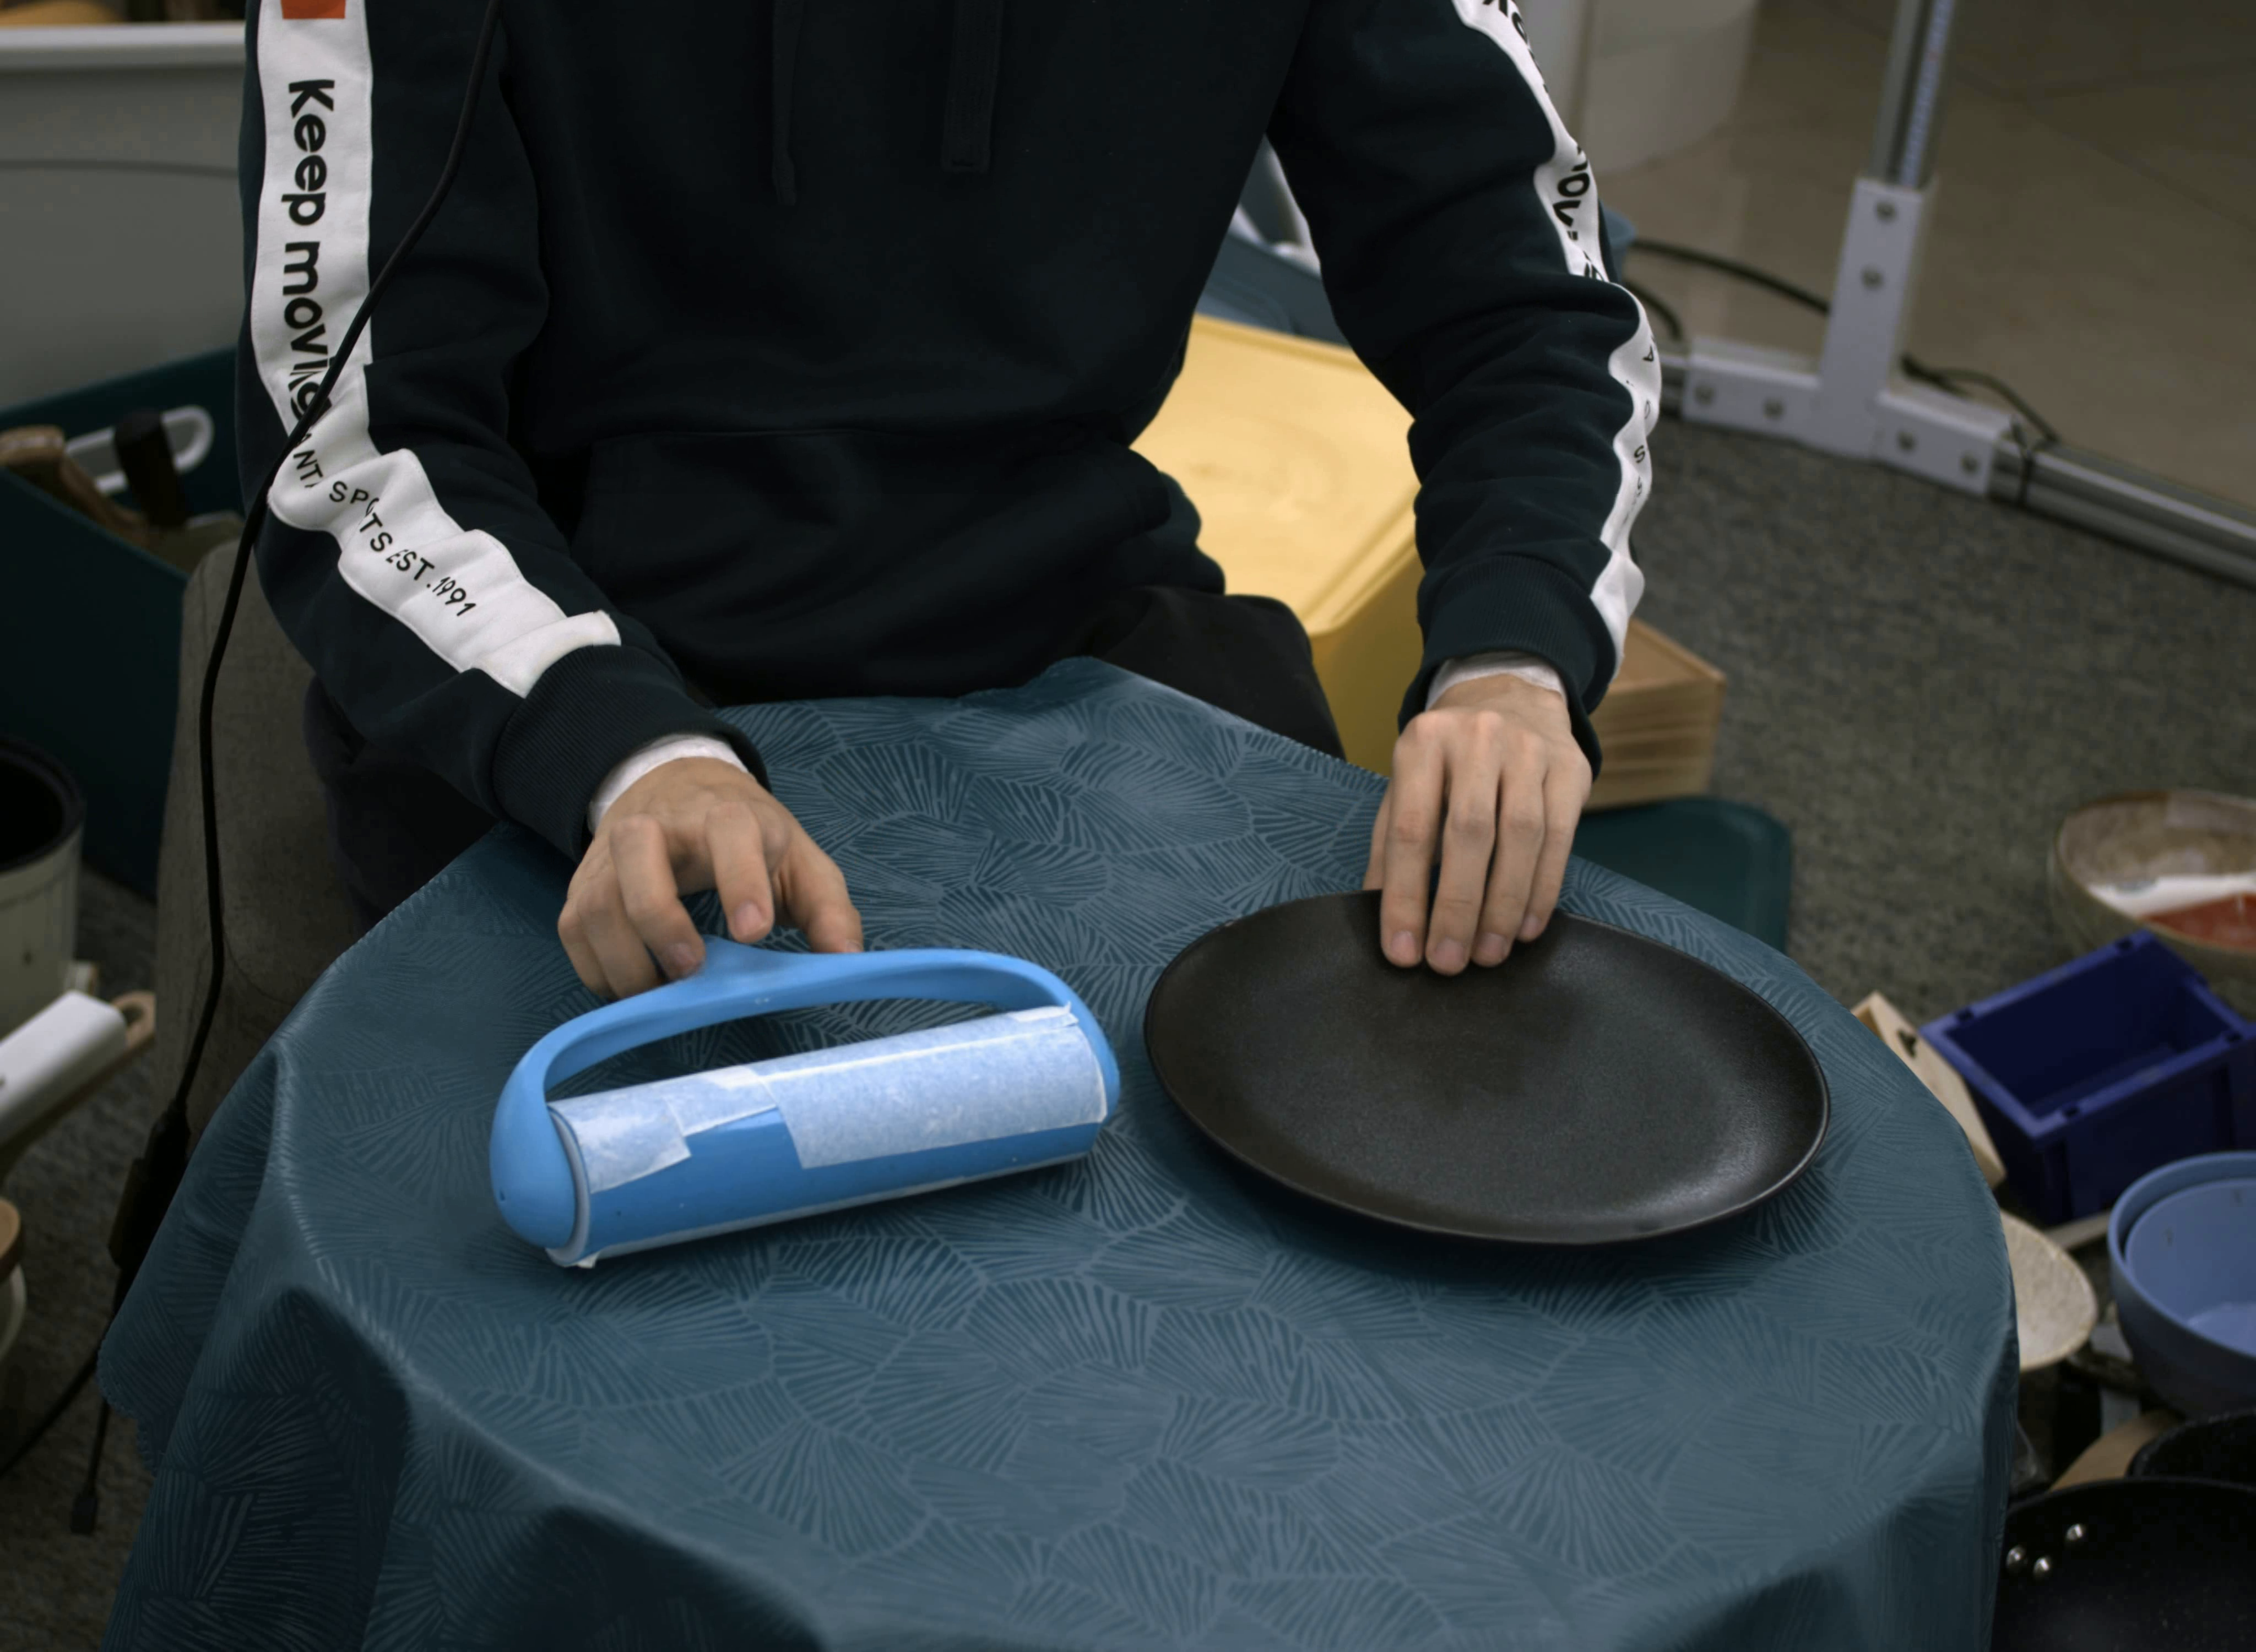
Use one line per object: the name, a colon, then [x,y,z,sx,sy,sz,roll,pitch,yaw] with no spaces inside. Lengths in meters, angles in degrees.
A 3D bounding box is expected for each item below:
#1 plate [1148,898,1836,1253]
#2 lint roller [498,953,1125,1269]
plate: [0.126,0.091,1.867,0.243,0.023,0.246,5,27,-3]
lint roller: [-0.134,0.076,1.801,0.227,0.068,0.182,-12,31,-31]
